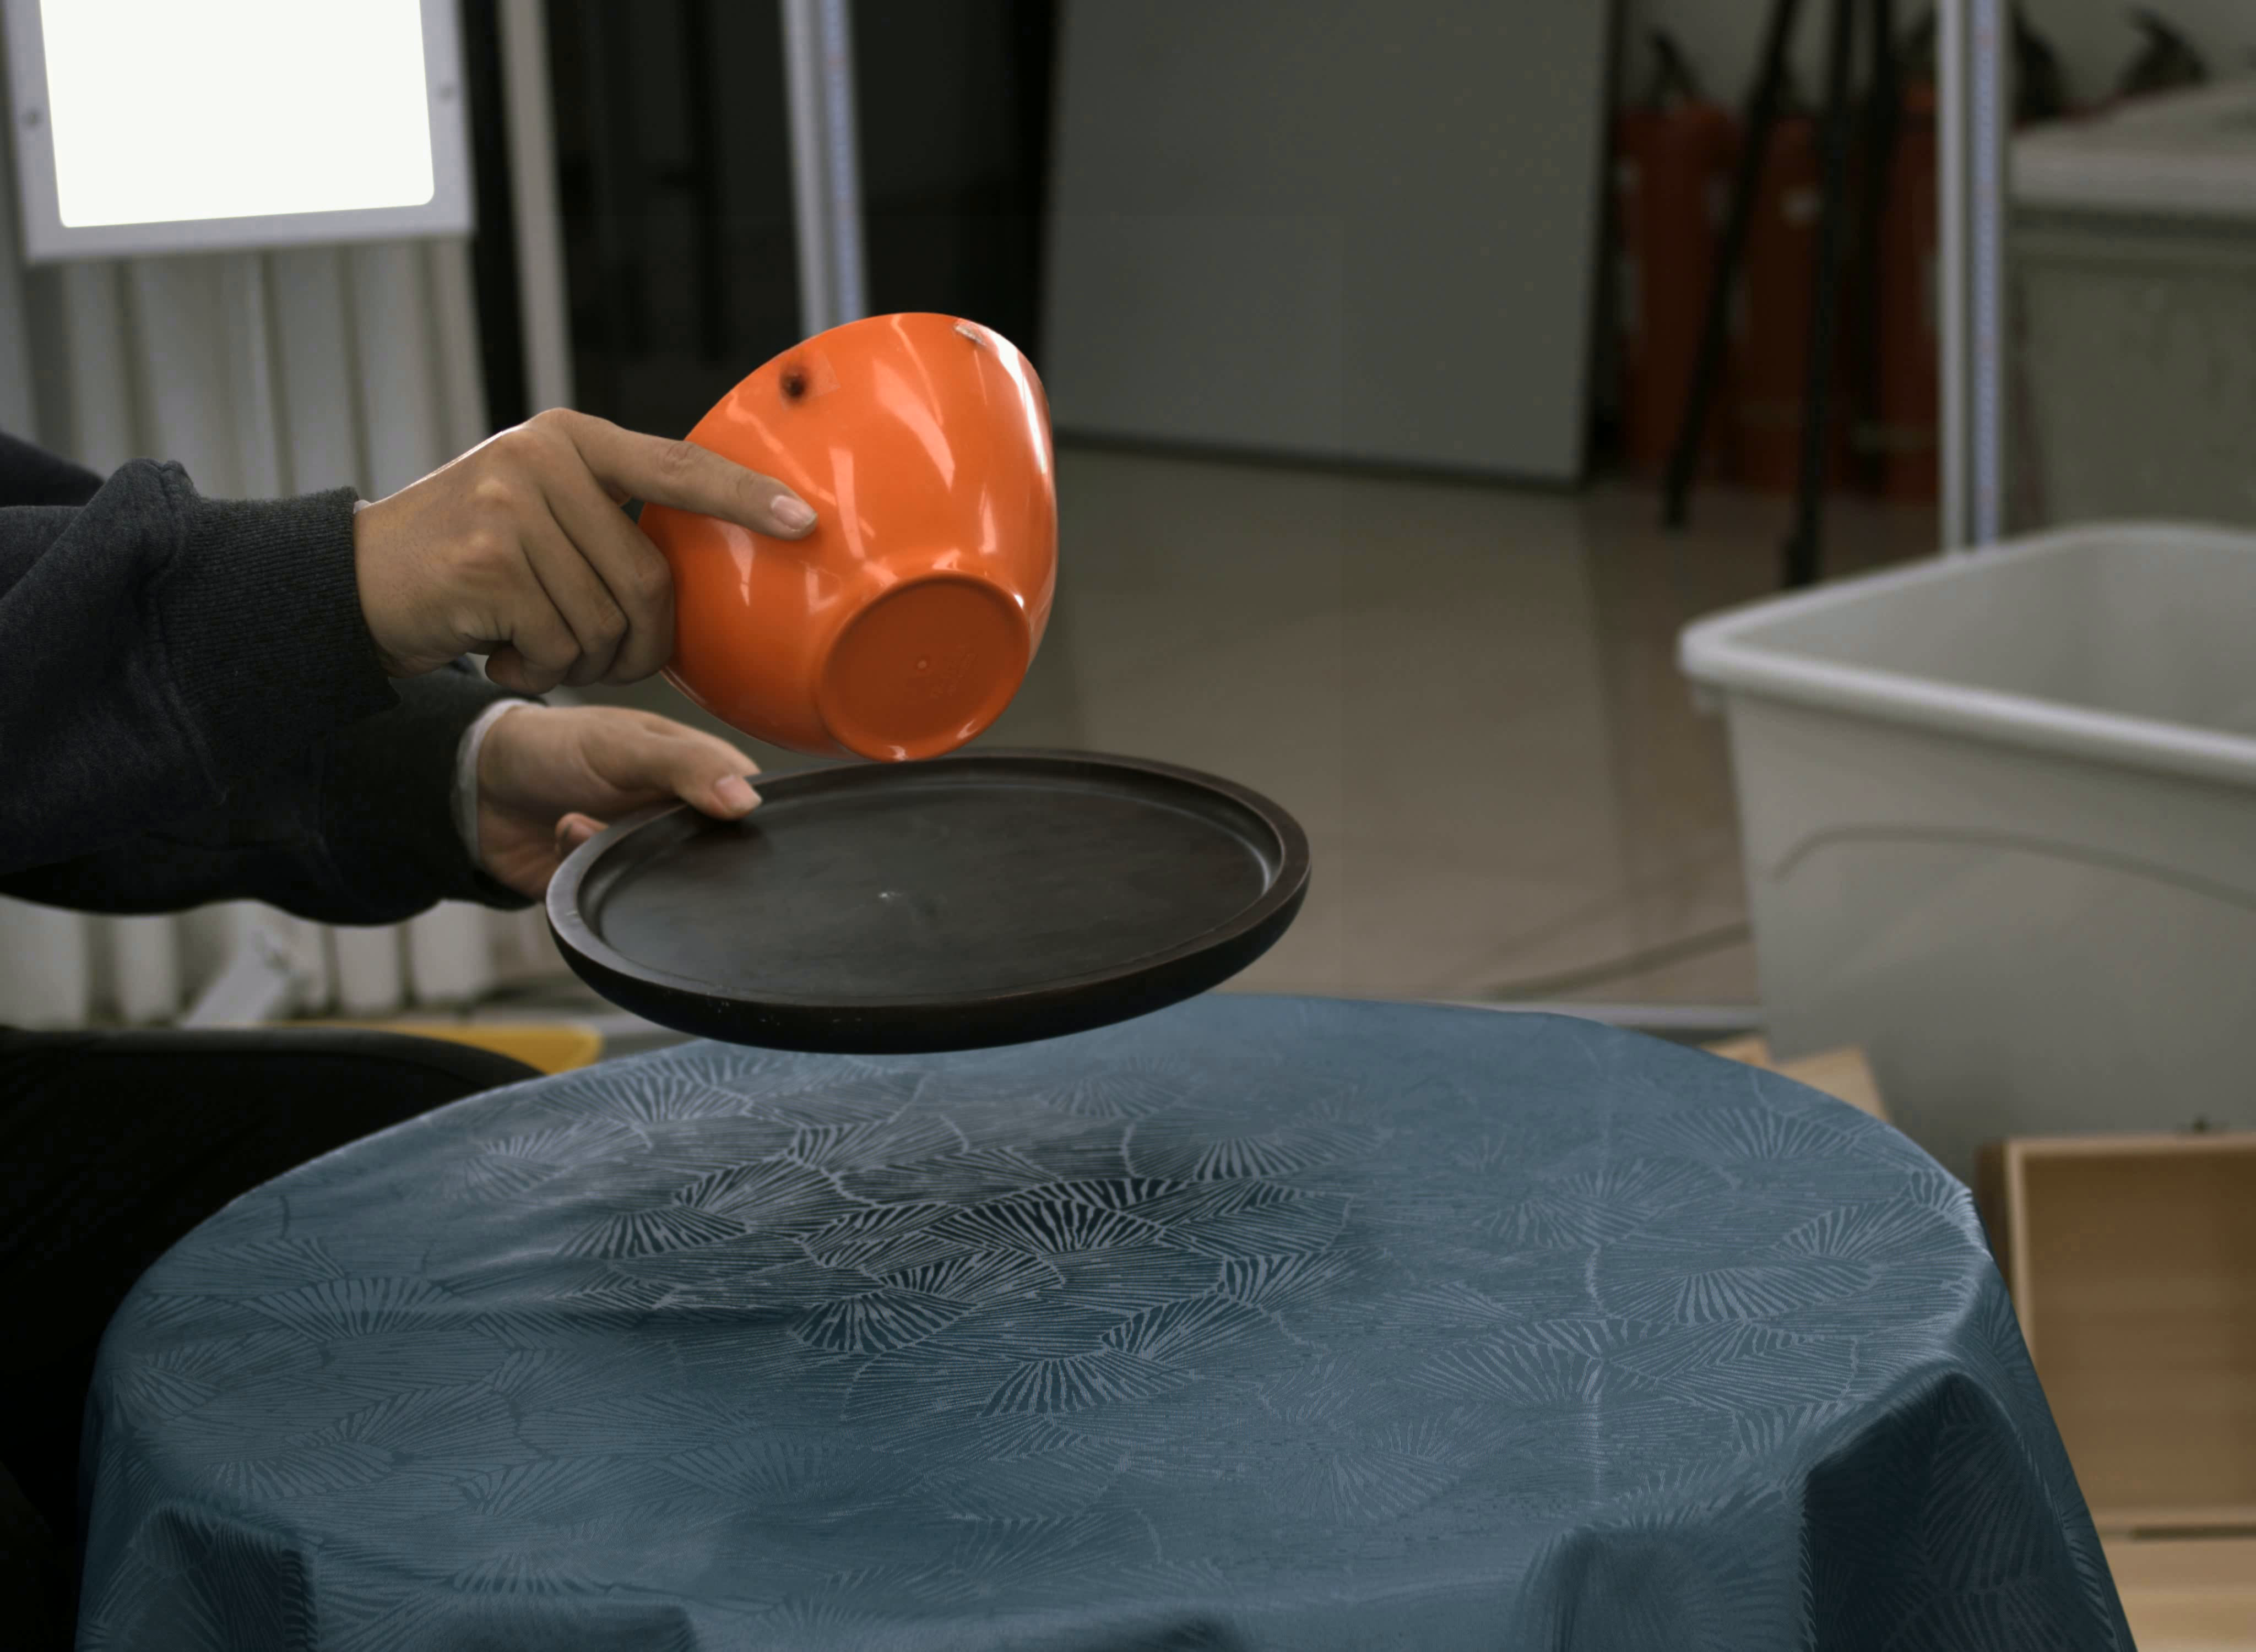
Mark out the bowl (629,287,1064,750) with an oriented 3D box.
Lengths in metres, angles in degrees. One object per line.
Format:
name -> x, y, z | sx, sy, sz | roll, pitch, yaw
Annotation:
bowl -> -0.069, -0.076, 1.605 | 0.145, 0.149, 0.106 | -8, 37, -21

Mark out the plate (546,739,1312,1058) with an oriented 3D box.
plate -> -0.064, 0.023, 1.759 | 0.251, 0.029, 0.255 | -4, 20, 1
